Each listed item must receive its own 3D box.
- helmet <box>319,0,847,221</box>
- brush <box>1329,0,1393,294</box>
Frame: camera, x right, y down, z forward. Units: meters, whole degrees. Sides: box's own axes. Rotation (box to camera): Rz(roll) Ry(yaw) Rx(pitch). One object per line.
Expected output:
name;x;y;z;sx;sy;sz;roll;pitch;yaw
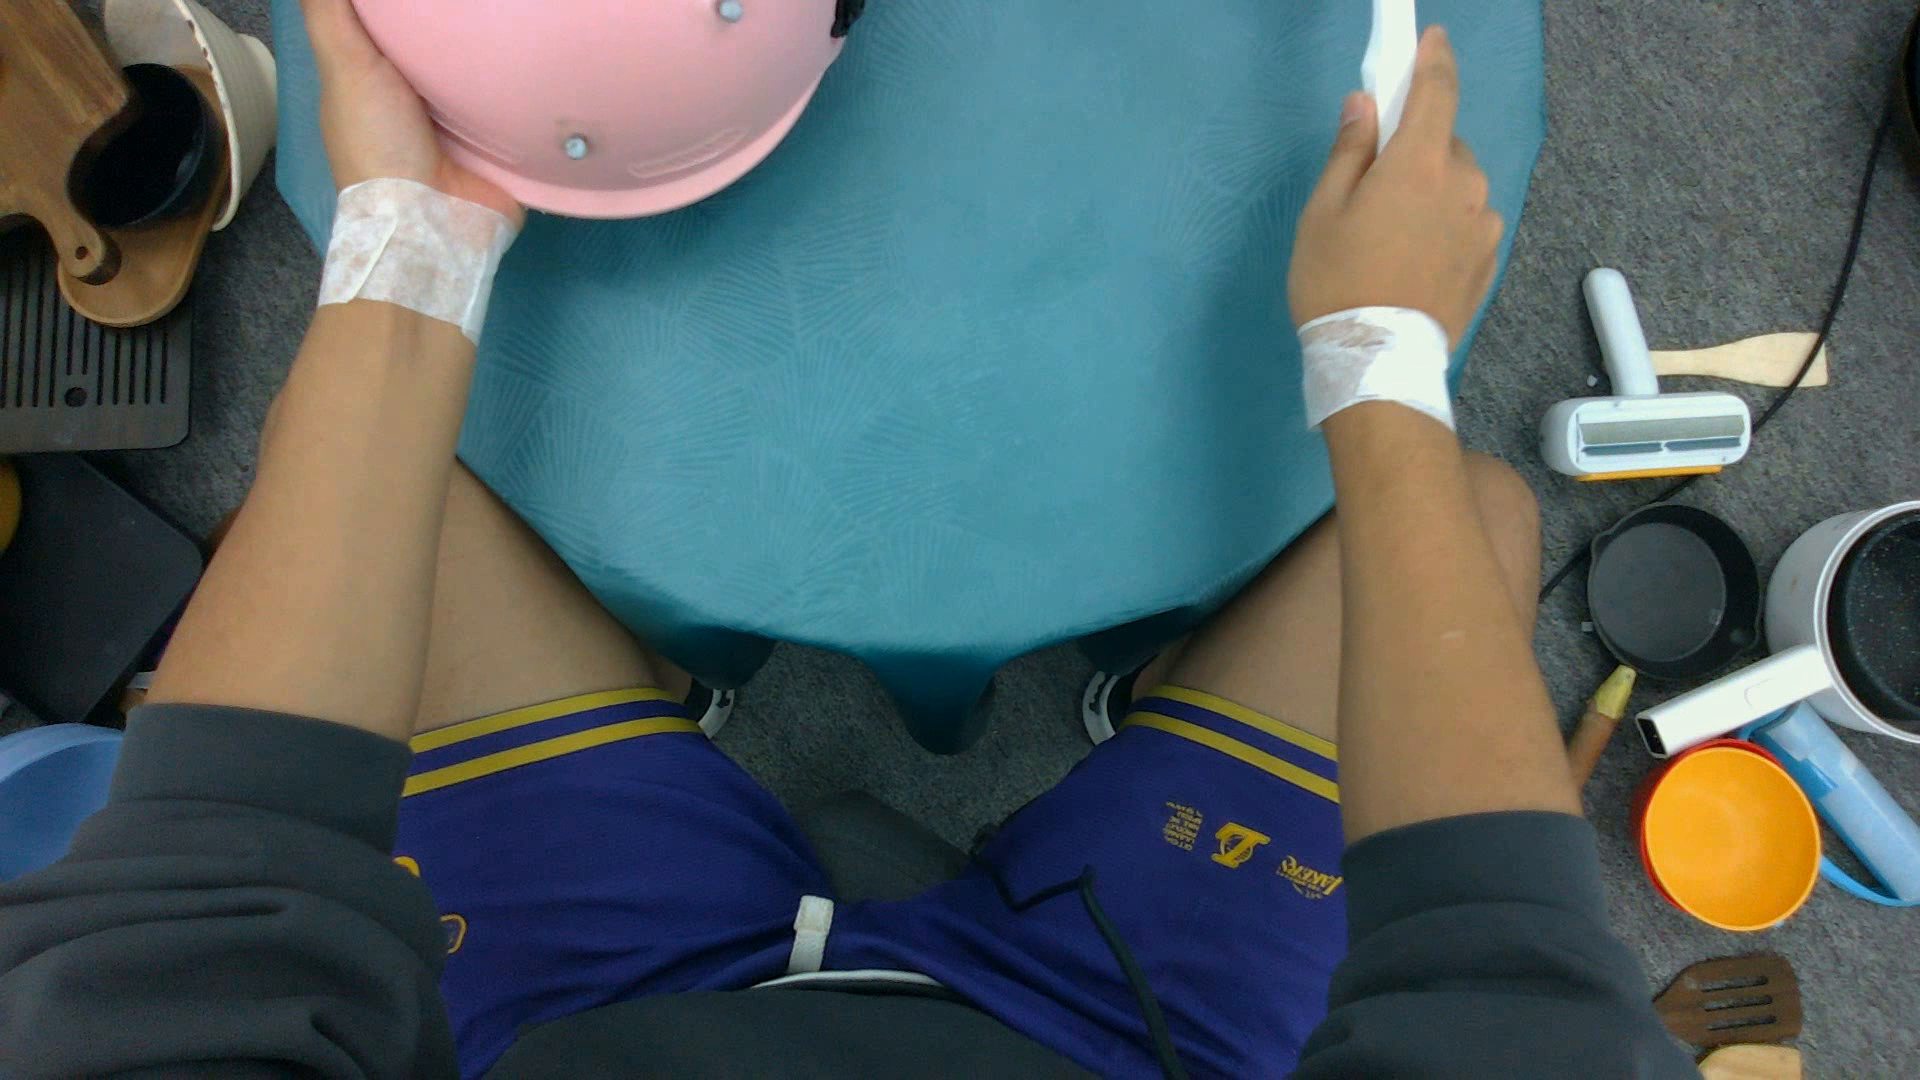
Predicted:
helmet;-0.151;-0.277;0.540;0.234;0.158;0.266;2;80;-12
brush;0.173;-0.231;0.620;0.034;0.050;0.243;-1;92;-10
